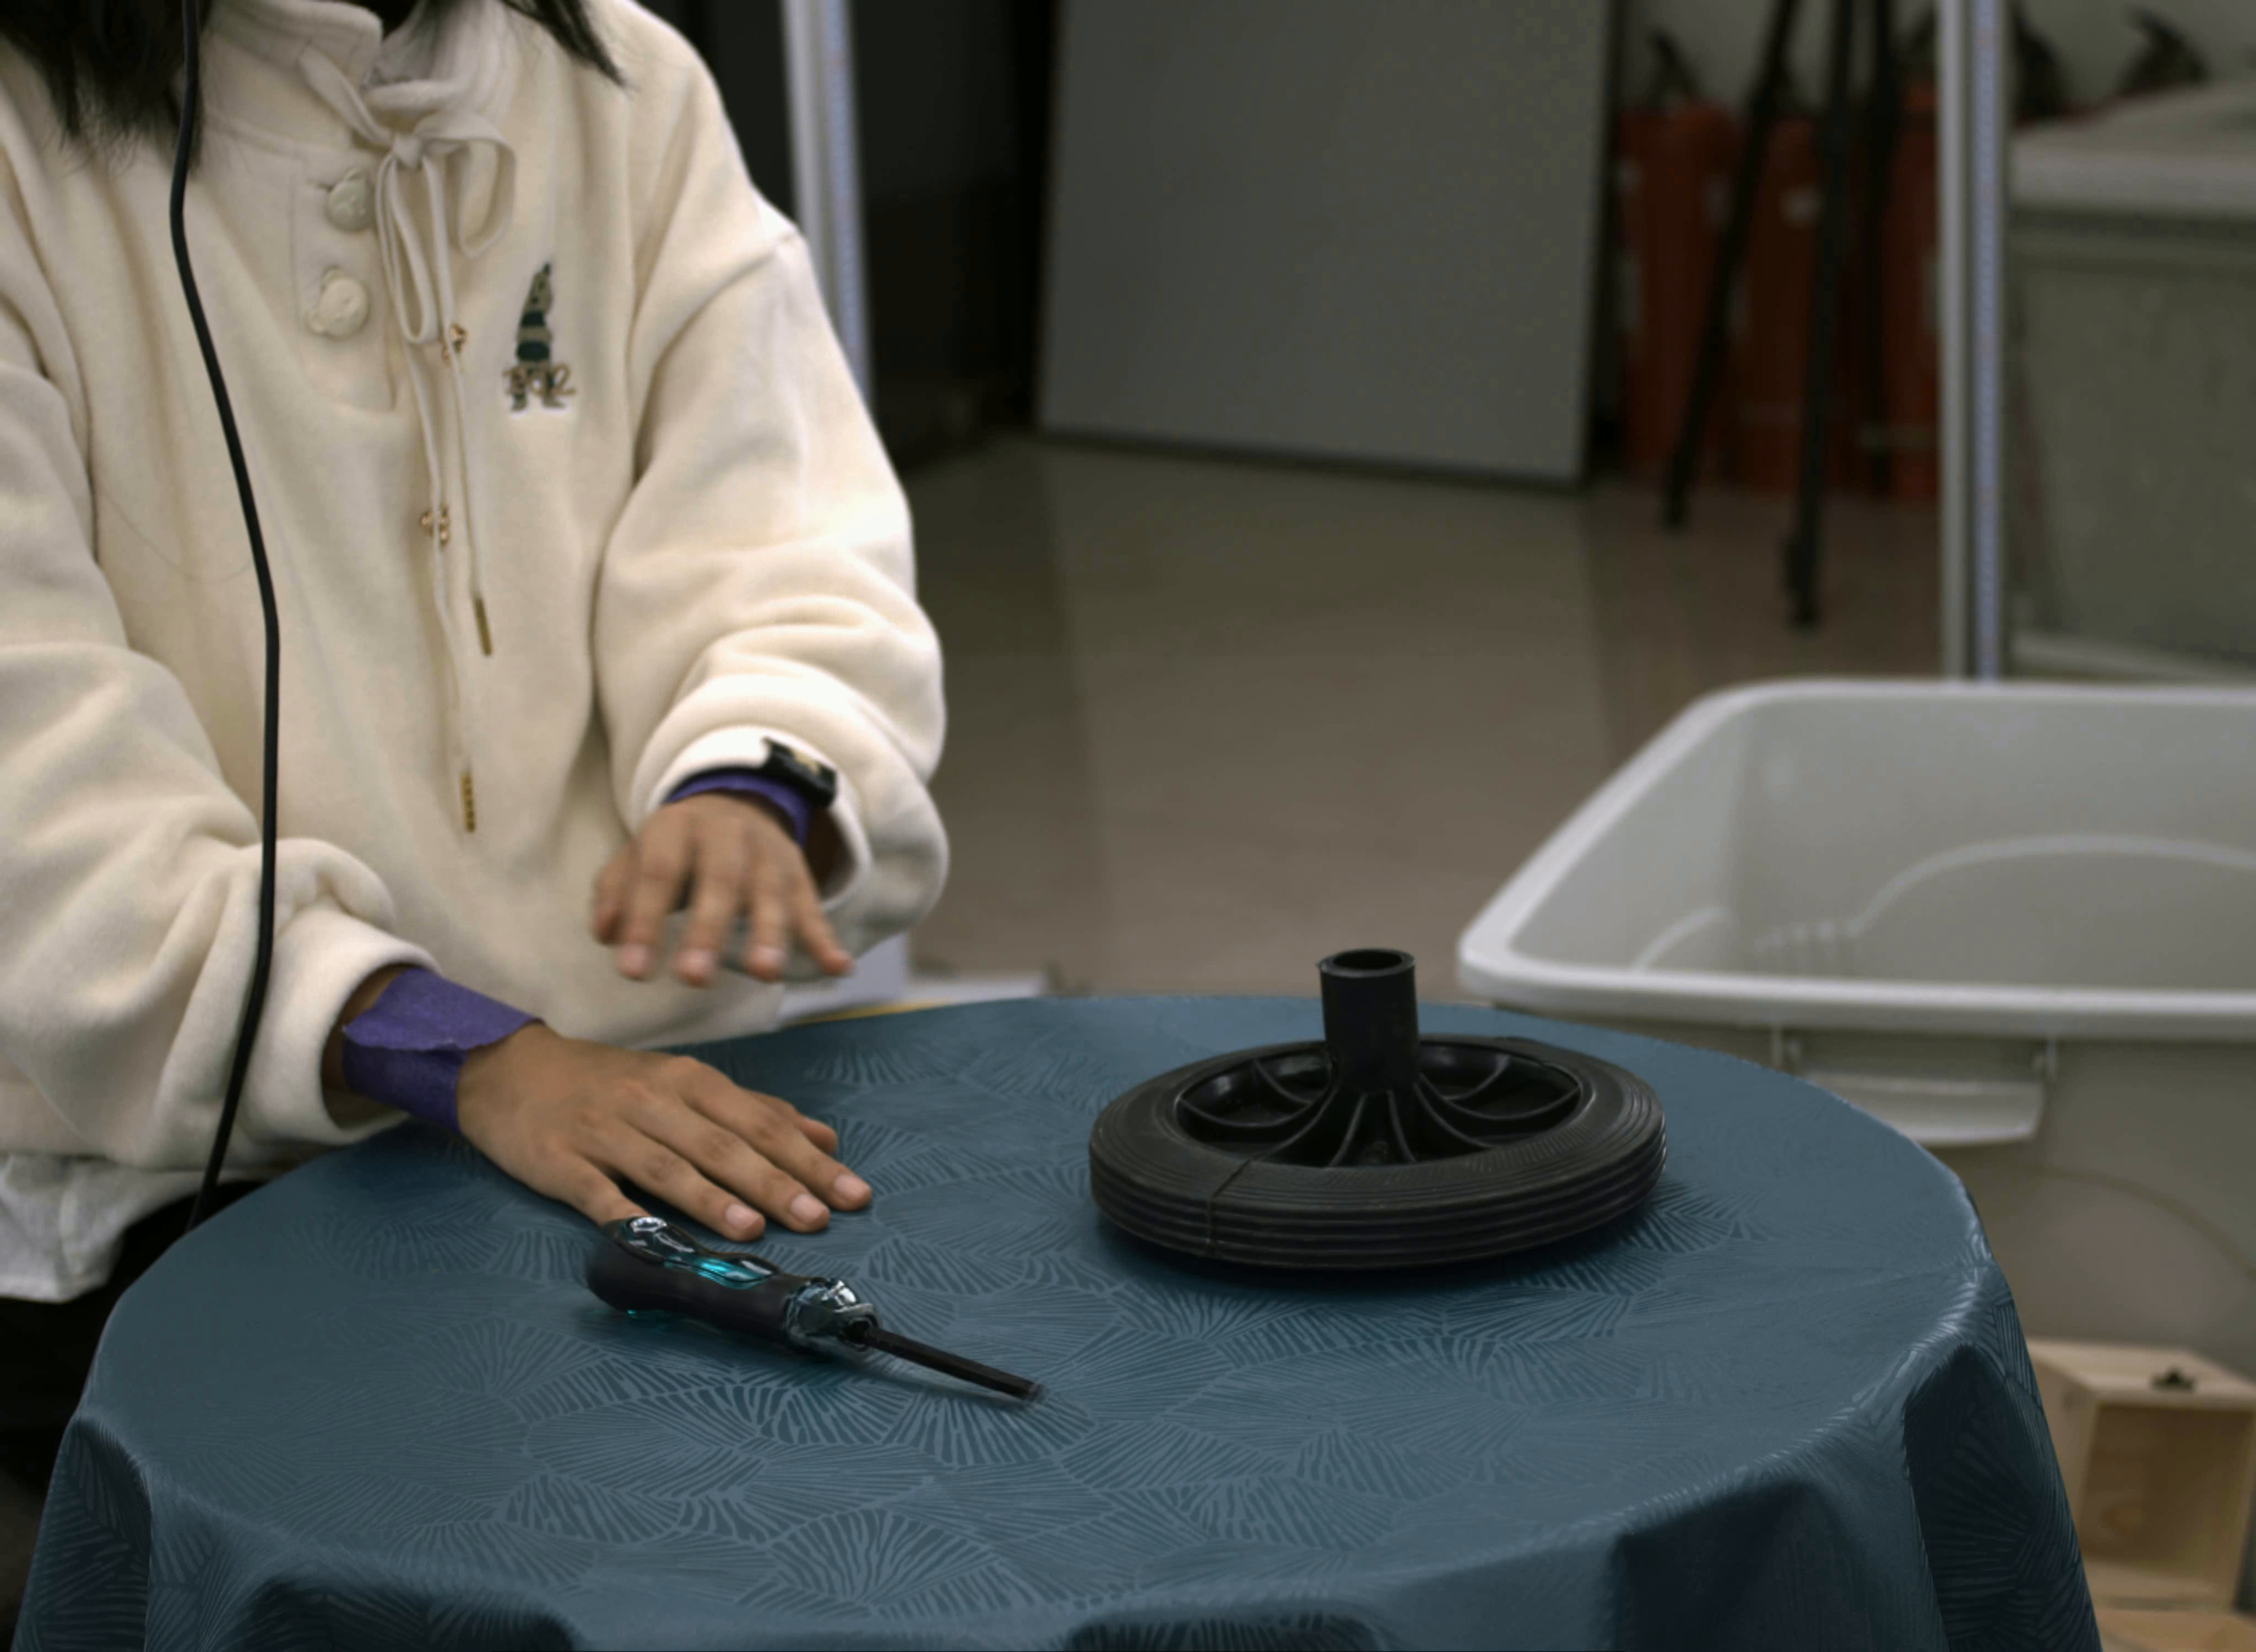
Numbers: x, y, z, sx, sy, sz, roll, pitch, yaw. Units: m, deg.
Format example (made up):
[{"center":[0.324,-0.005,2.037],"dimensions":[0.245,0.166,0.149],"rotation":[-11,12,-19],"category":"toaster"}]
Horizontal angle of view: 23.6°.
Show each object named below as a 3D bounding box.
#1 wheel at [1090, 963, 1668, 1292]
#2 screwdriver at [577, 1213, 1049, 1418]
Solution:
[{"center":[0.080,0.087,1.729],"dimensions":[0.184,0.080,0.191],"rotation":[-8,17,-16],"category":"wheel"},{"center":[-0.095,0.152,1.630],"dimensions":[0.191,0.034,0.033],"rotation":[15,22,40],"category":"screwdriver"}]
